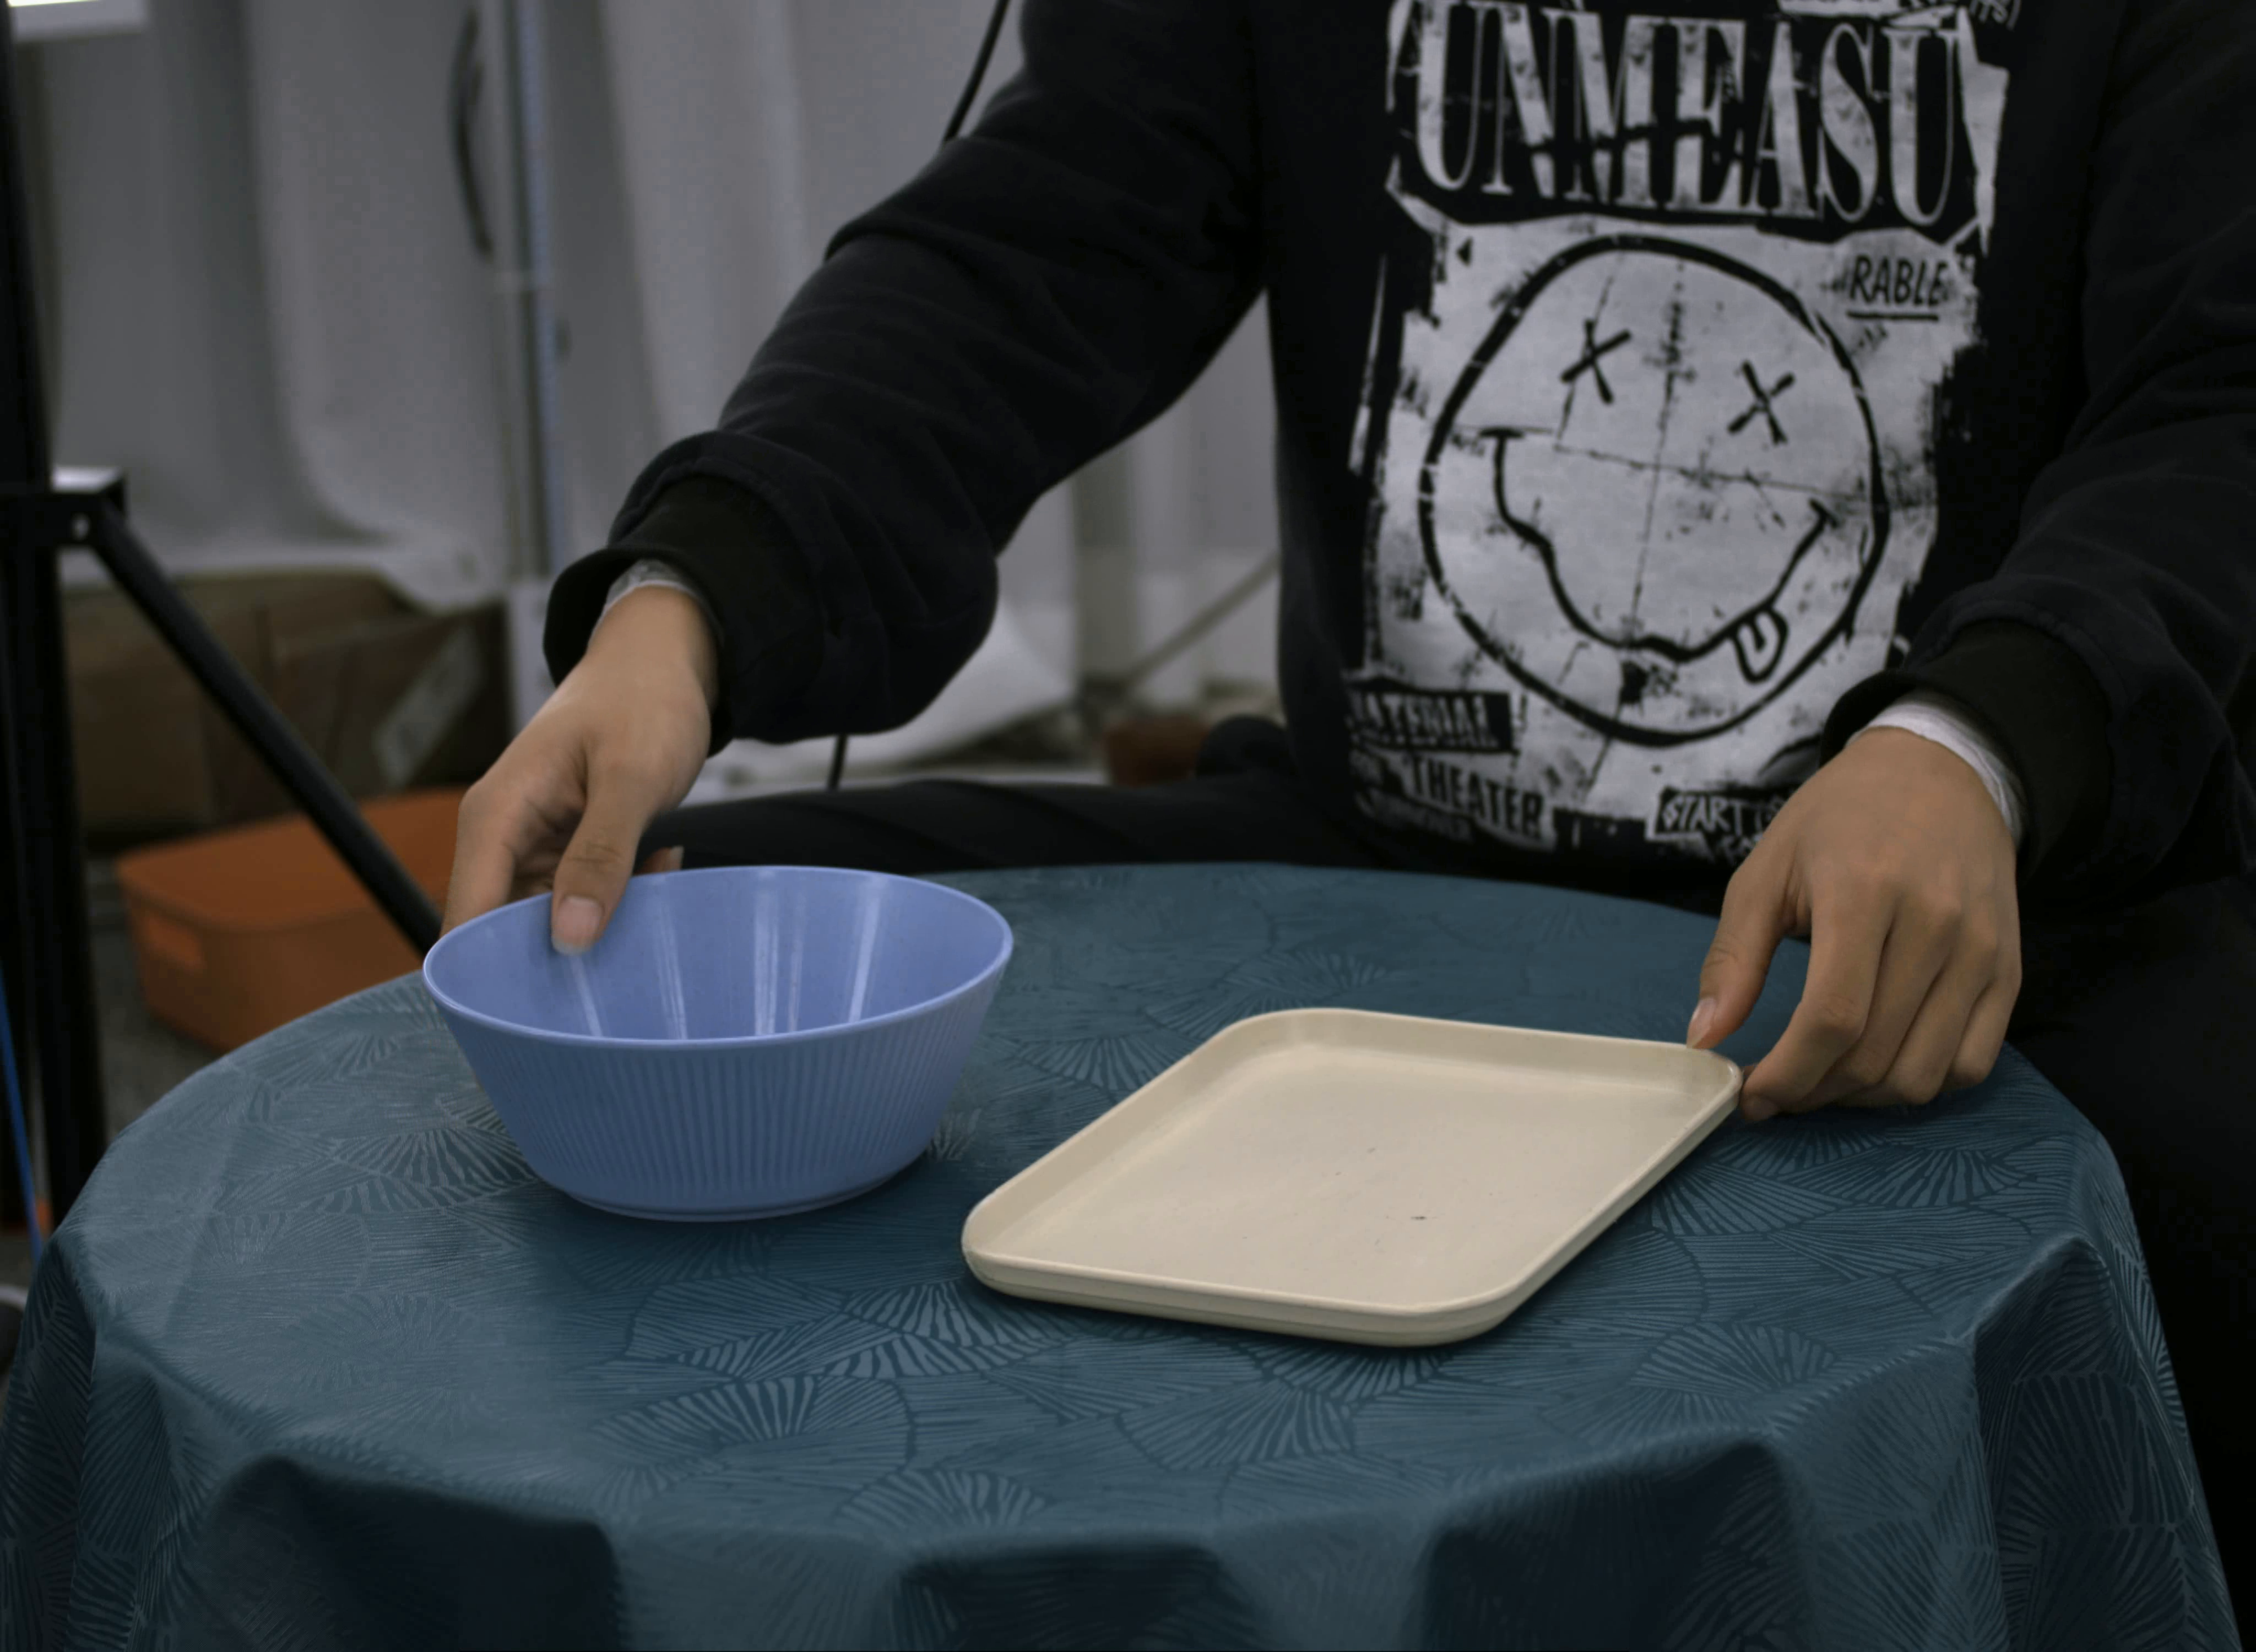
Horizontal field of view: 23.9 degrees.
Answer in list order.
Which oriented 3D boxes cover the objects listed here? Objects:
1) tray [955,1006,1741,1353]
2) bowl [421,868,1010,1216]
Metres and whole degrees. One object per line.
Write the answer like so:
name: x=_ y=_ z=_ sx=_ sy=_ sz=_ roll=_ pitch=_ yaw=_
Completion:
tray: x=0.068 y=0.101 z=1.539 sx=0.174 sy=0.017 sz=0.236 roll=6 pitch=18 yaw=26
bowl: x=-0.122 y=0.067 z=1.594 sx=0.175 sy=0.070 sz=0.177 roll=-2 pitch=16 yaw=-1
